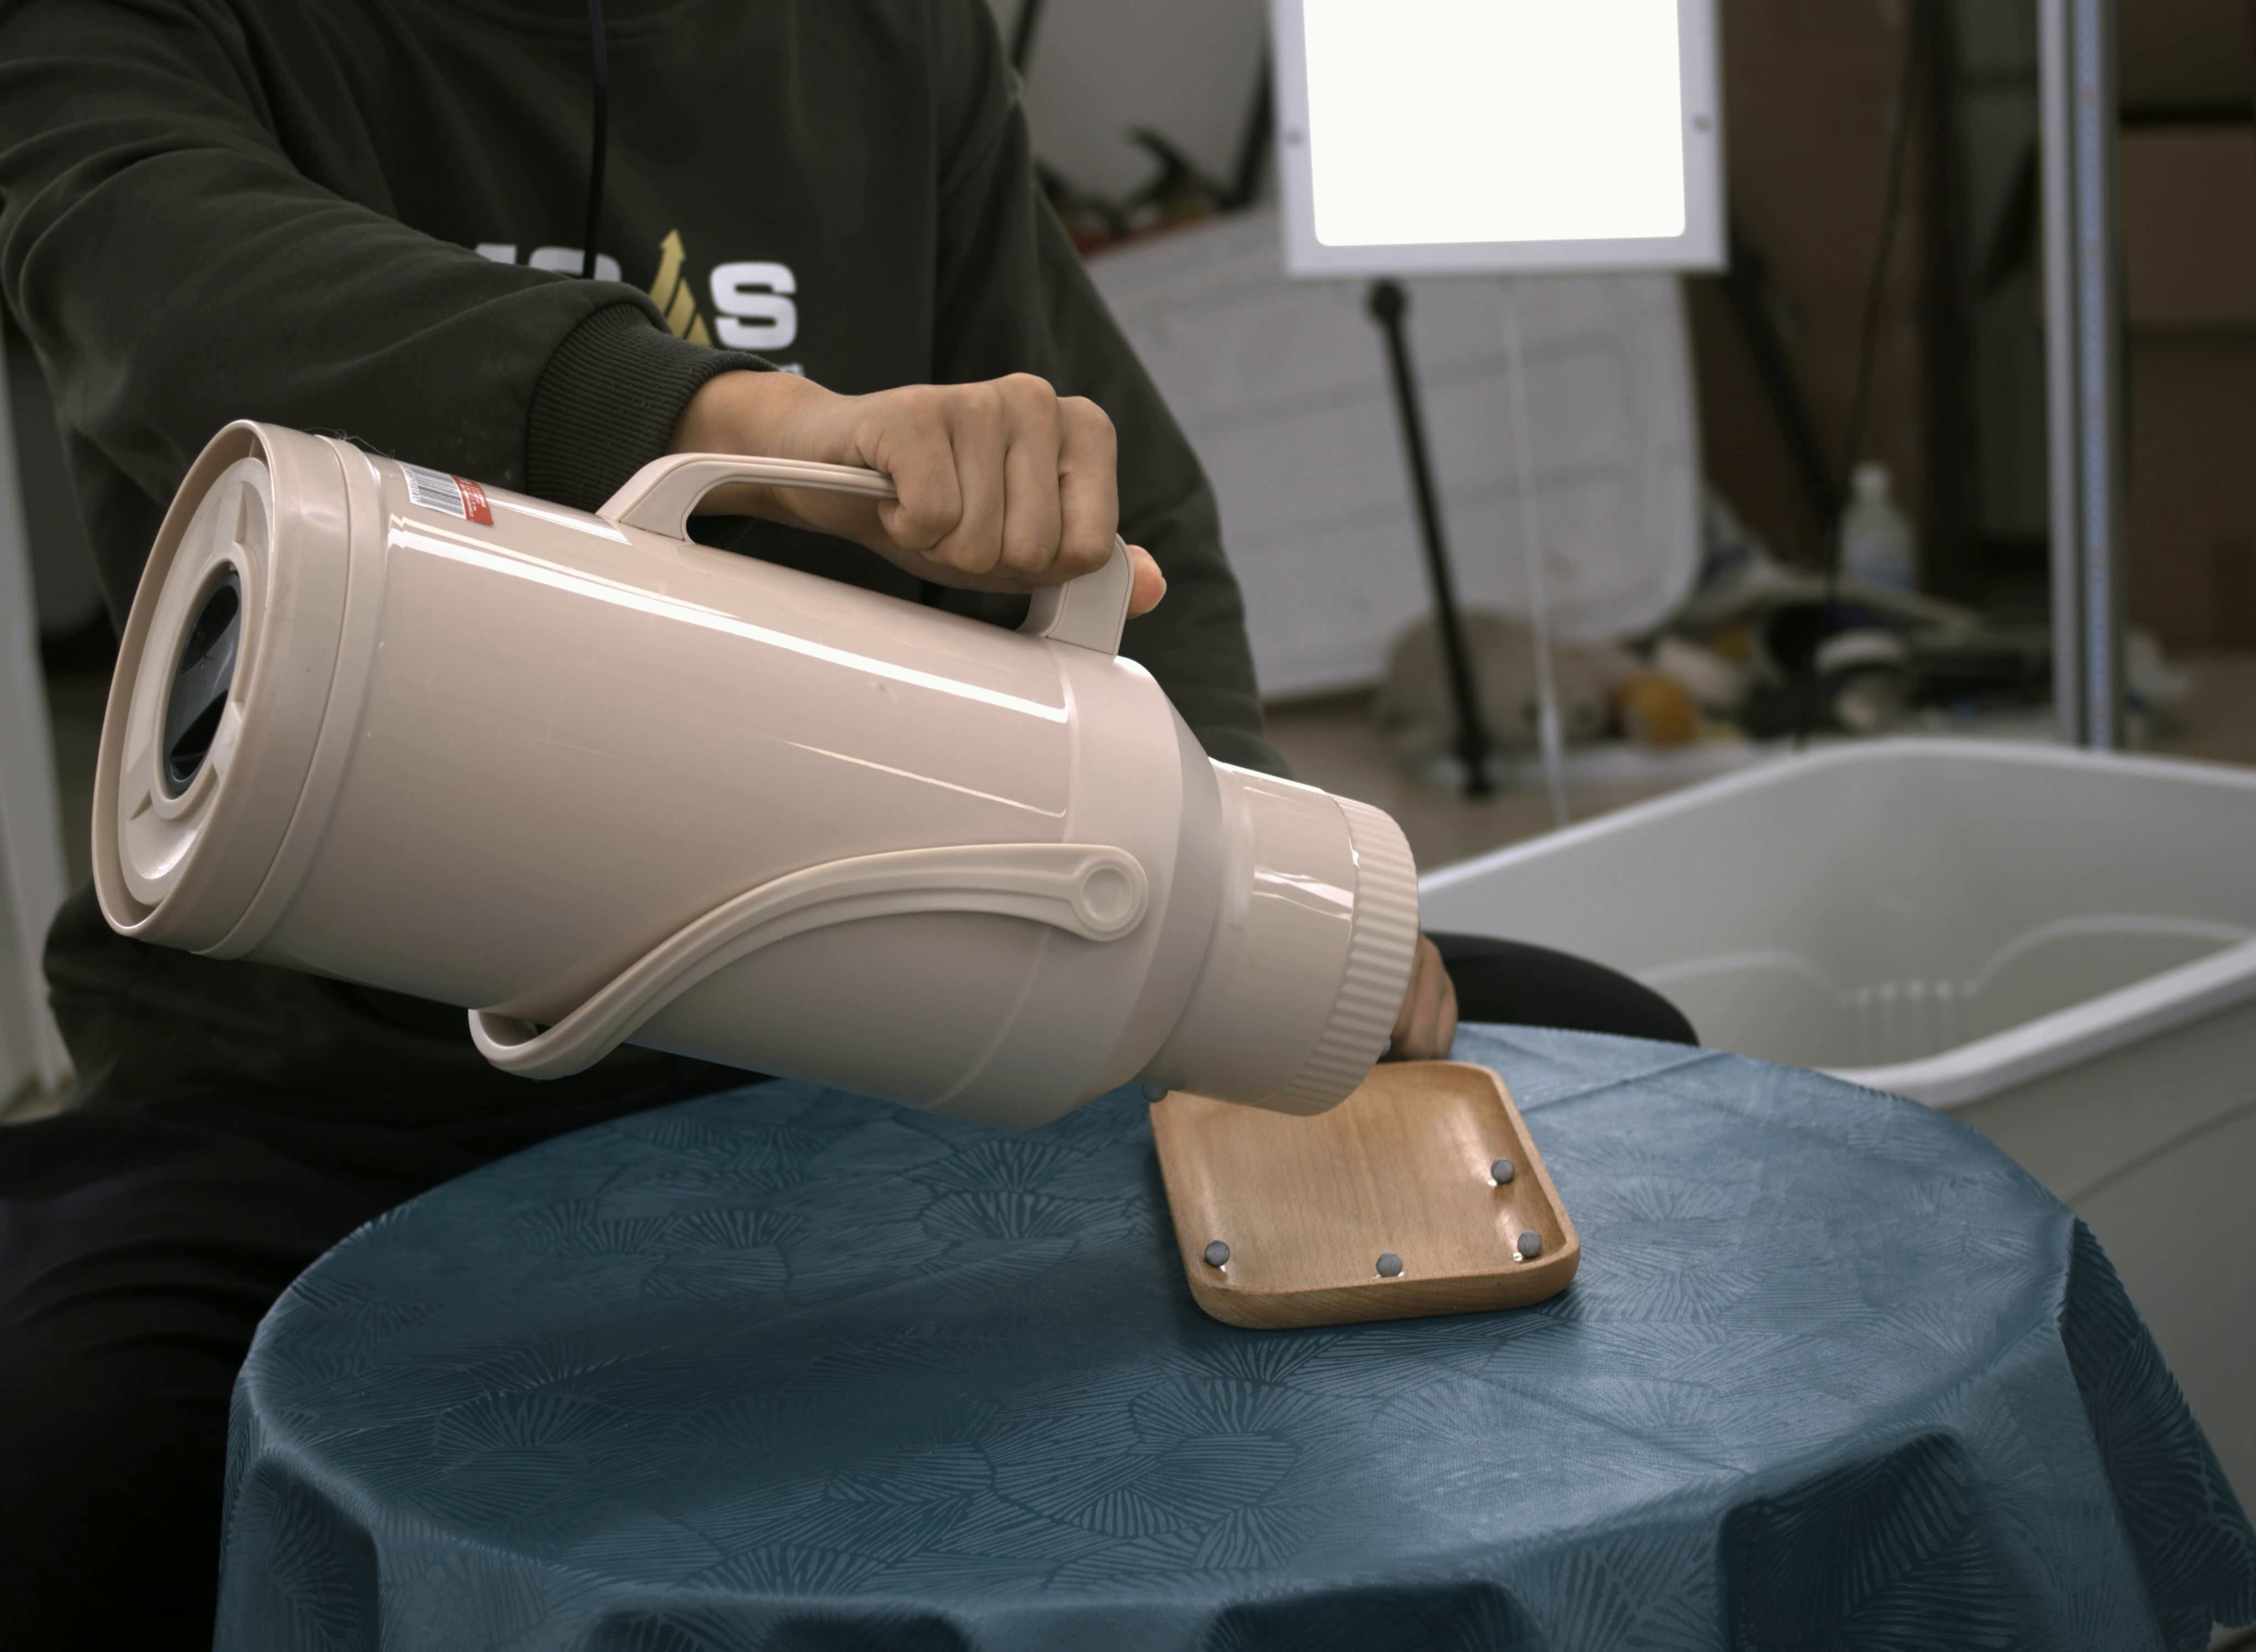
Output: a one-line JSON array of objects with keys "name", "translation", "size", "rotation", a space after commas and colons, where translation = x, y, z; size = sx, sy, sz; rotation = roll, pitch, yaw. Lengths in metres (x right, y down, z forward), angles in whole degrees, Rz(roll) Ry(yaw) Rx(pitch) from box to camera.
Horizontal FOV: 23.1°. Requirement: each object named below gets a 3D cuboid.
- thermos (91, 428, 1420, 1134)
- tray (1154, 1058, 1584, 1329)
[{"name": "thermos", "translation": [-0.105, -0.014, 1.720], "size": [0.399, 0.207, 0.178], "rotation": [14, -2, -21]}, {"name": "tray", "translation": [0.078, 0.122, 1.858], "size": [0.130, 0.023, 0.250], "rotation": [-3, 13, -1]}]
